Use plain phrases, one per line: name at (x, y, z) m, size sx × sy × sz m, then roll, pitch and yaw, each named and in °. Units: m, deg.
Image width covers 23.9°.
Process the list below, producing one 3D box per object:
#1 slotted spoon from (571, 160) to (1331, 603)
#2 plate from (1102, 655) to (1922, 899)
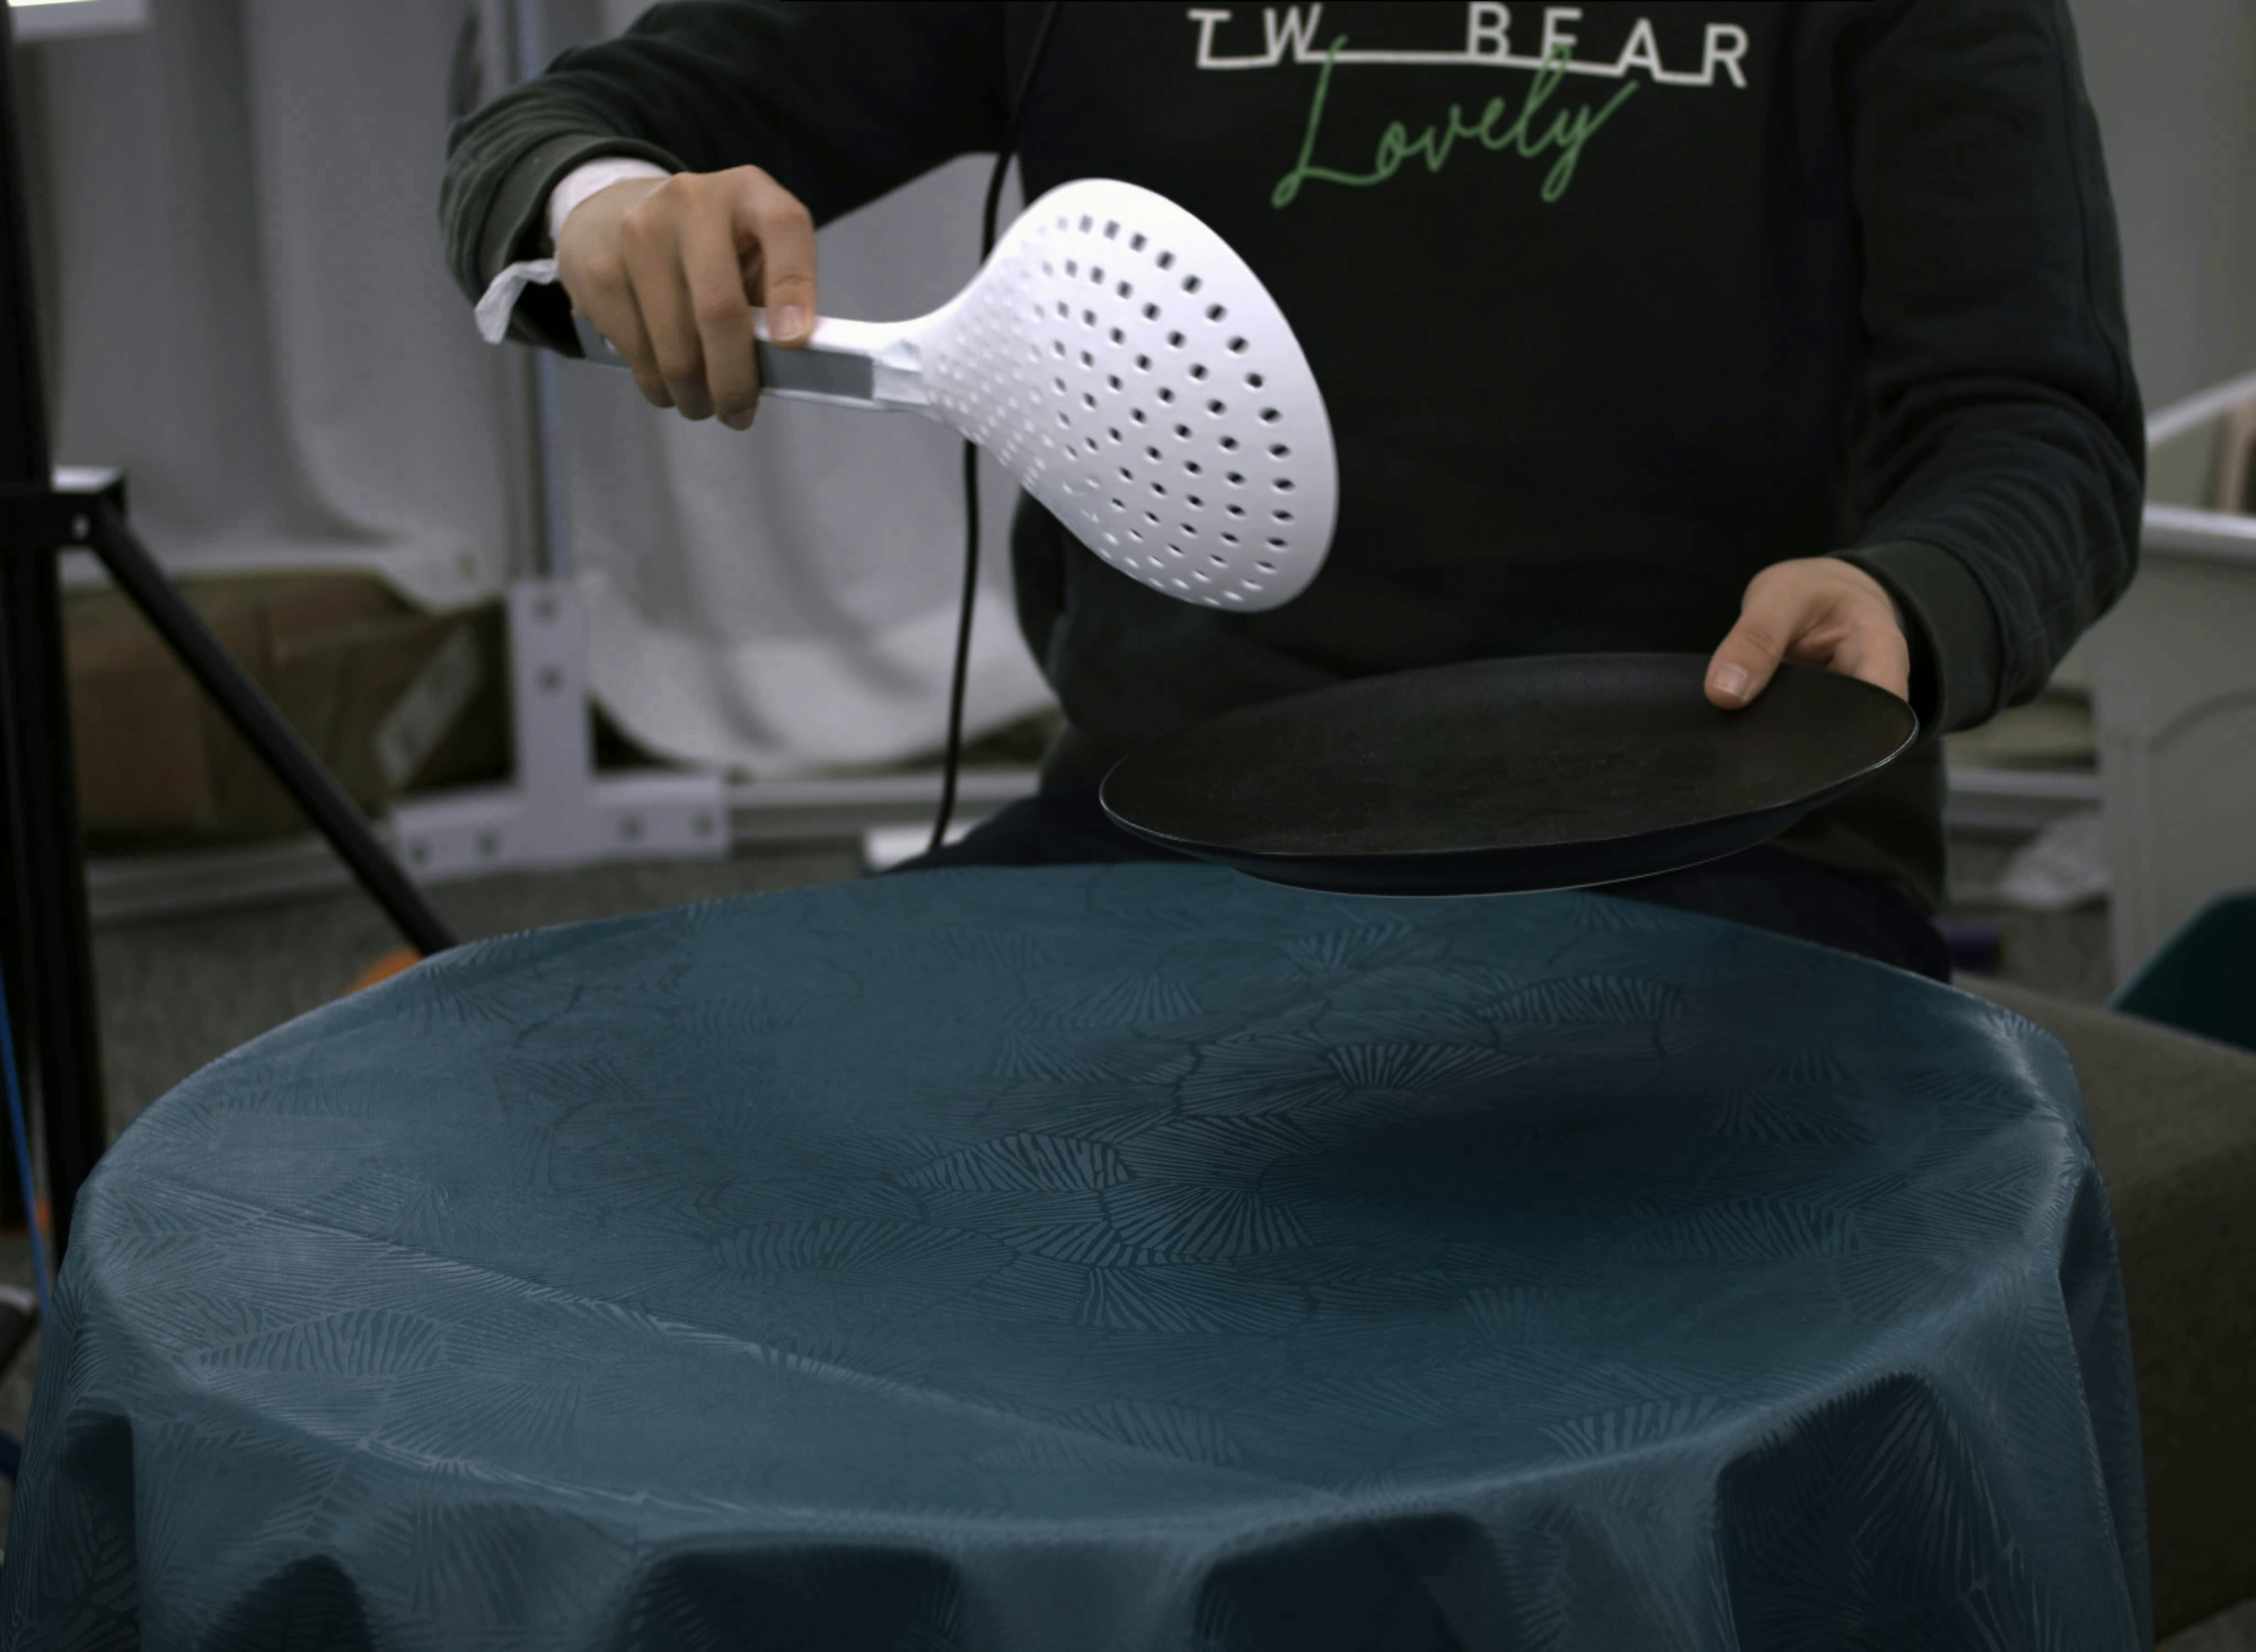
slotted spoon at (-0.065, -0.139, 1.625) m, size 0.045 × 0.135 × 0.357 m, roll -26°, pitch 23°, yaw -29°
plate at (0.114, -0.013, 1.577) m, size 0.243 × 0.023 × 0.245 m, roll -6°, pitch 14°, yaw 0°
